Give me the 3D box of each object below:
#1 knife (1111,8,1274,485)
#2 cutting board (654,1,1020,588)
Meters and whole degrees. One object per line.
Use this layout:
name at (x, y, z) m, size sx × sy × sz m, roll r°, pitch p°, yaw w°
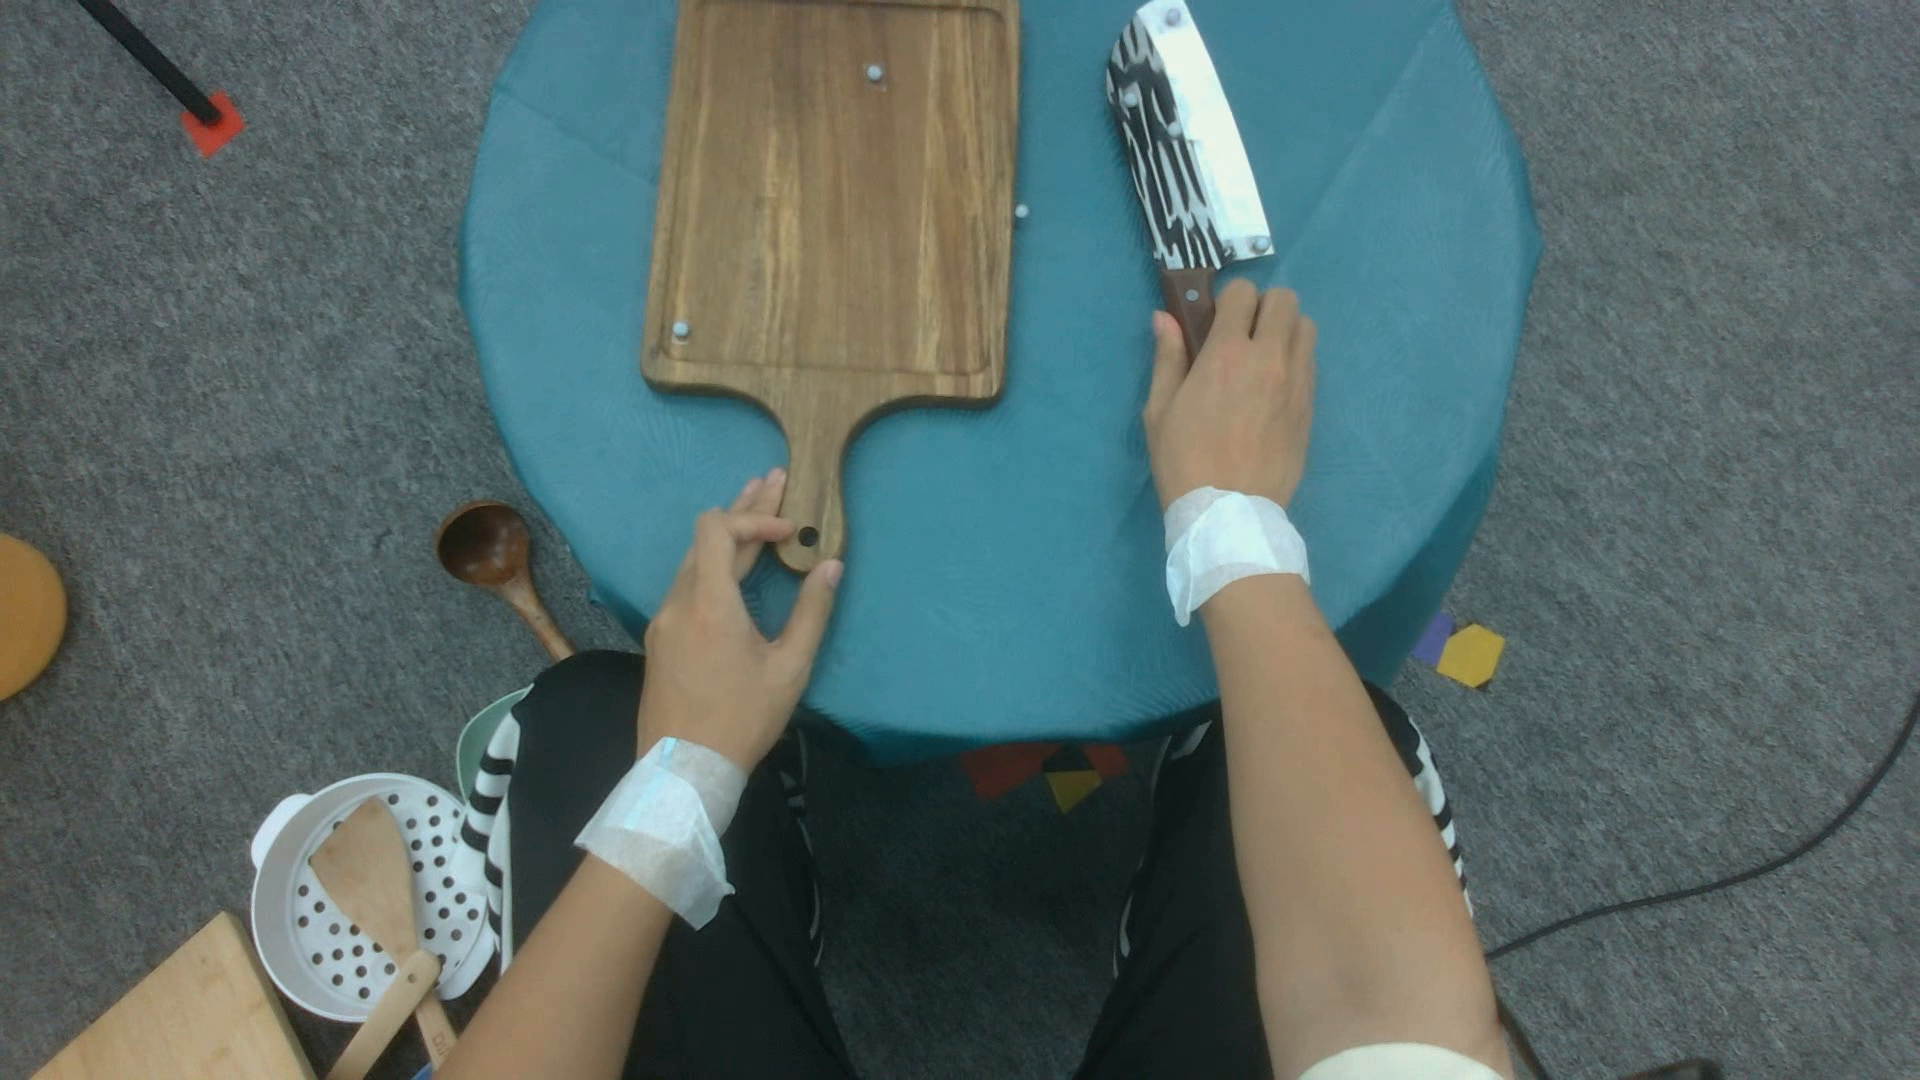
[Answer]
knife at (0.139, -0.175, 0.782) m, size 0.068 × 0.024 × 0.300 m, roll -11°, pitch 73°, yaw -2°
cutting board at (-0.068, -0.146, 0.775) m, size 0.201 × 0.023 × 0.353 m, roll 2°, pitch 75°, yaw 1°
